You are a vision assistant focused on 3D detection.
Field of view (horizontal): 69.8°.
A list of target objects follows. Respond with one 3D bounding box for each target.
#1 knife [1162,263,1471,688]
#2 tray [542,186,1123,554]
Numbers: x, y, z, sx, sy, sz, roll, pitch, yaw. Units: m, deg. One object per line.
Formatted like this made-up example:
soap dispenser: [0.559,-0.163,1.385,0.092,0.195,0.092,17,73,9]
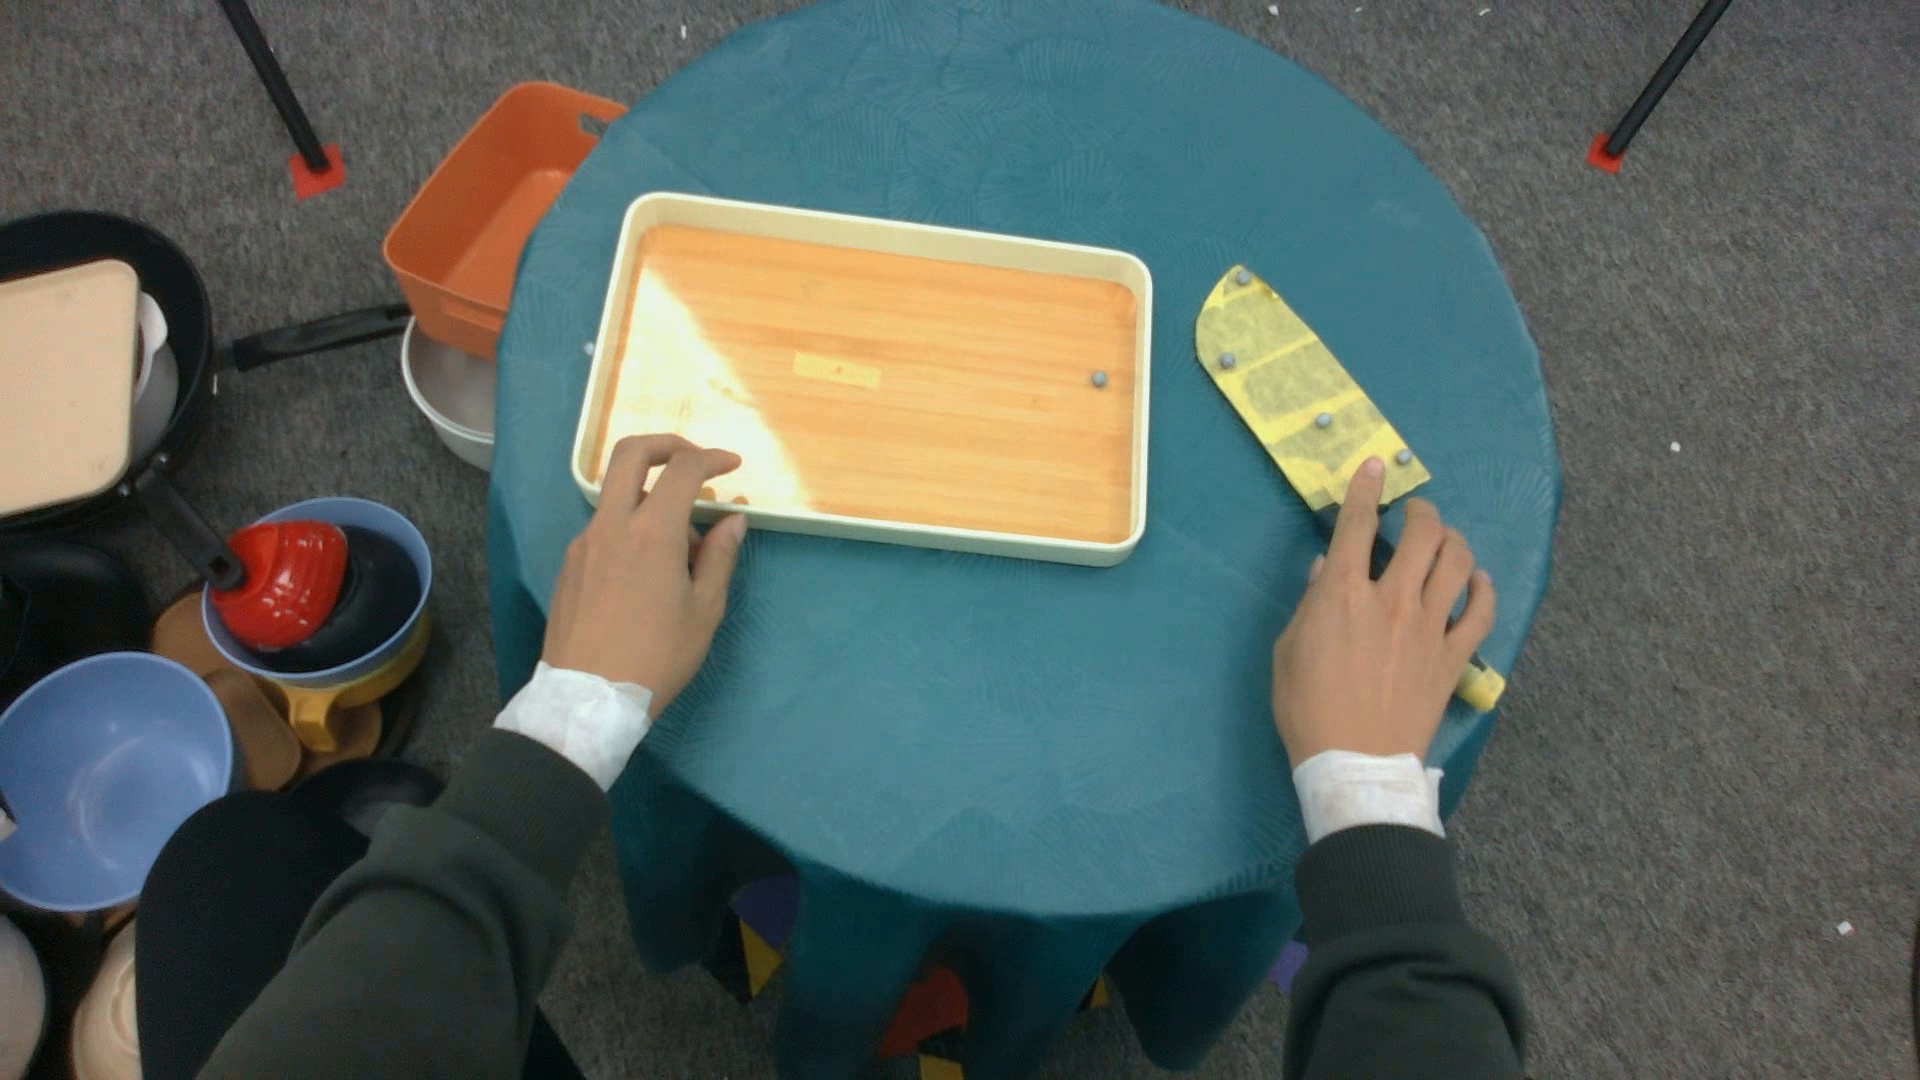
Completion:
knife: [0.202,-0.047,0.771,0.081,0.027,0.290,-25,69,-13]
tray: [-0.061,-0.095,0.756,0.300,0.027,0.192,6,66,-4]
